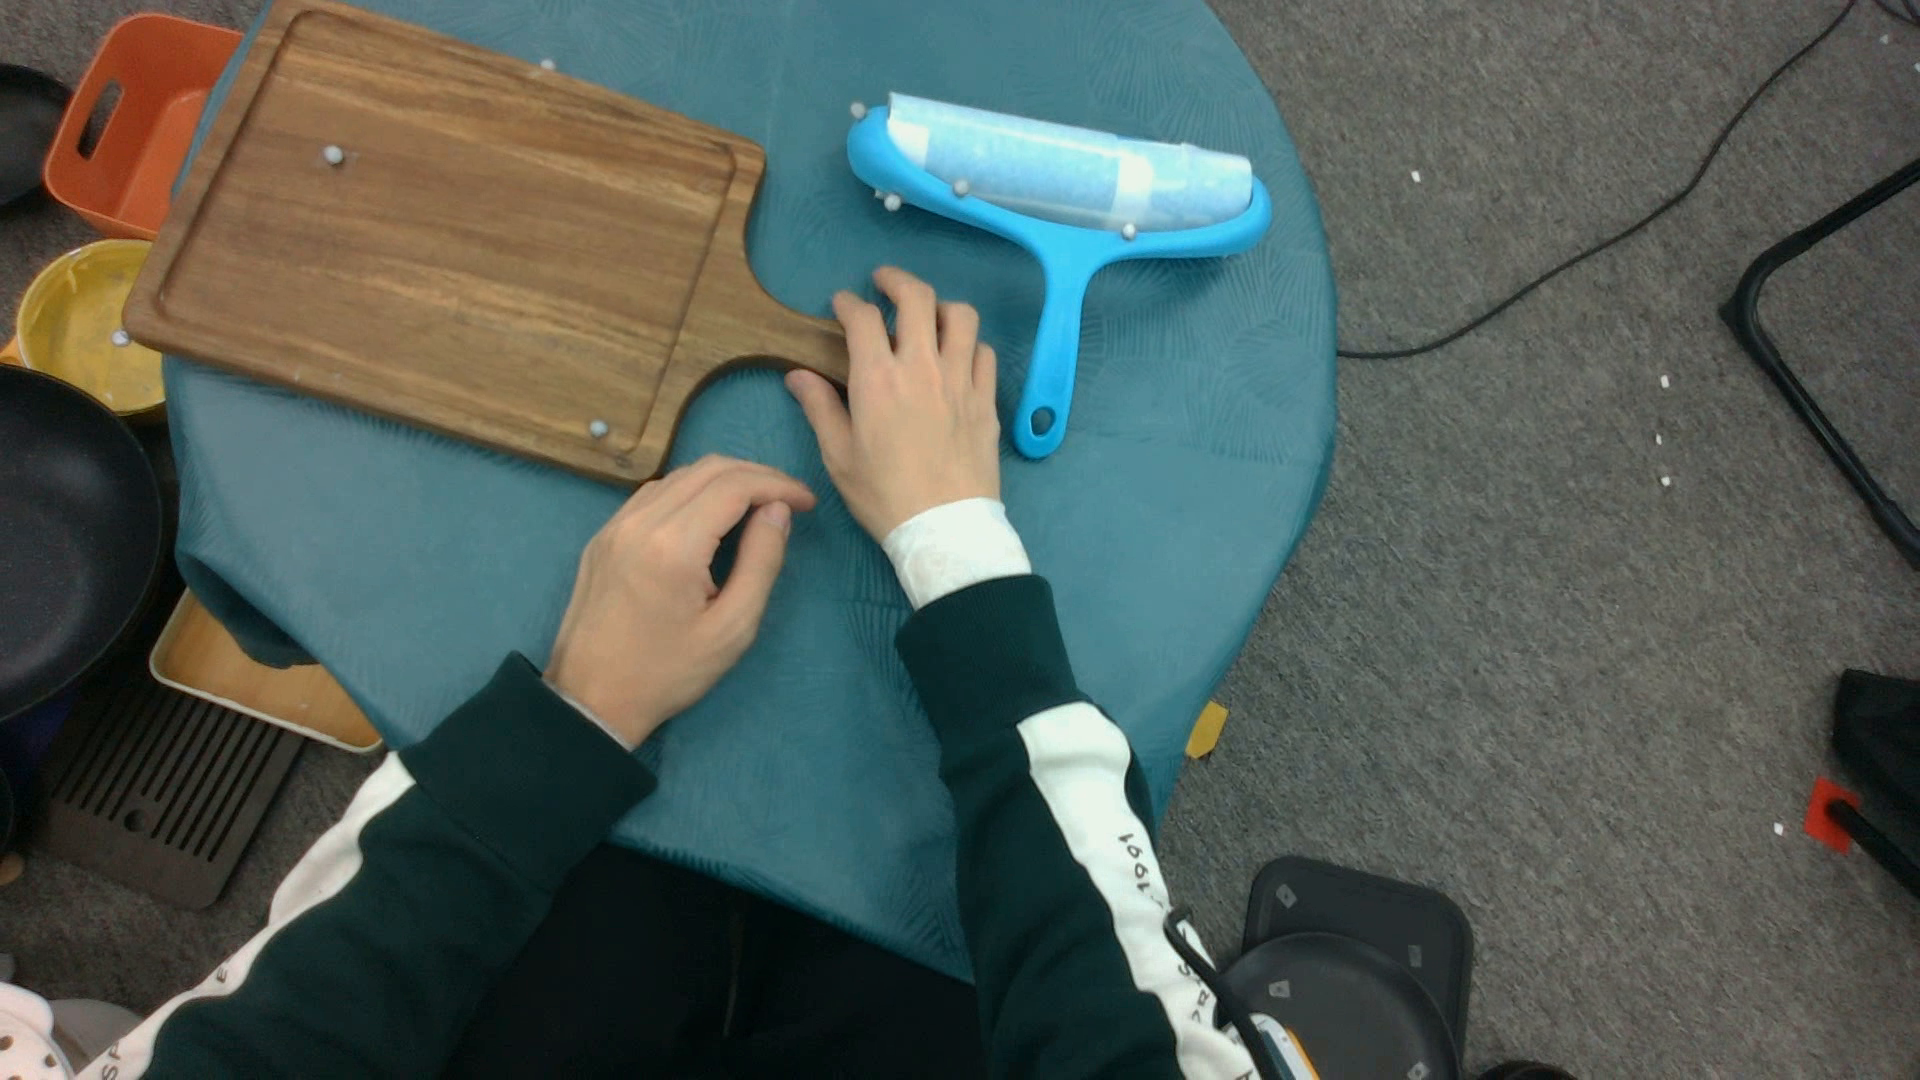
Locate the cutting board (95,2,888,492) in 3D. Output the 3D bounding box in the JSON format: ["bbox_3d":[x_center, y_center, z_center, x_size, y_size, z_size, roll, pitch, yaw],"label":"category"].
[{"bbox_3d":[-0.208,-0.132,0.677,0.352,0.023,0.201,14,73,-8],"label":"cutting board"}]

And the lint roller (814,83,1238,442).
[{"bbox_3d":[0.038,-0.145,0.713,0.229,0.067,0.180,3,73,-13],"label":"lint roller"}]
